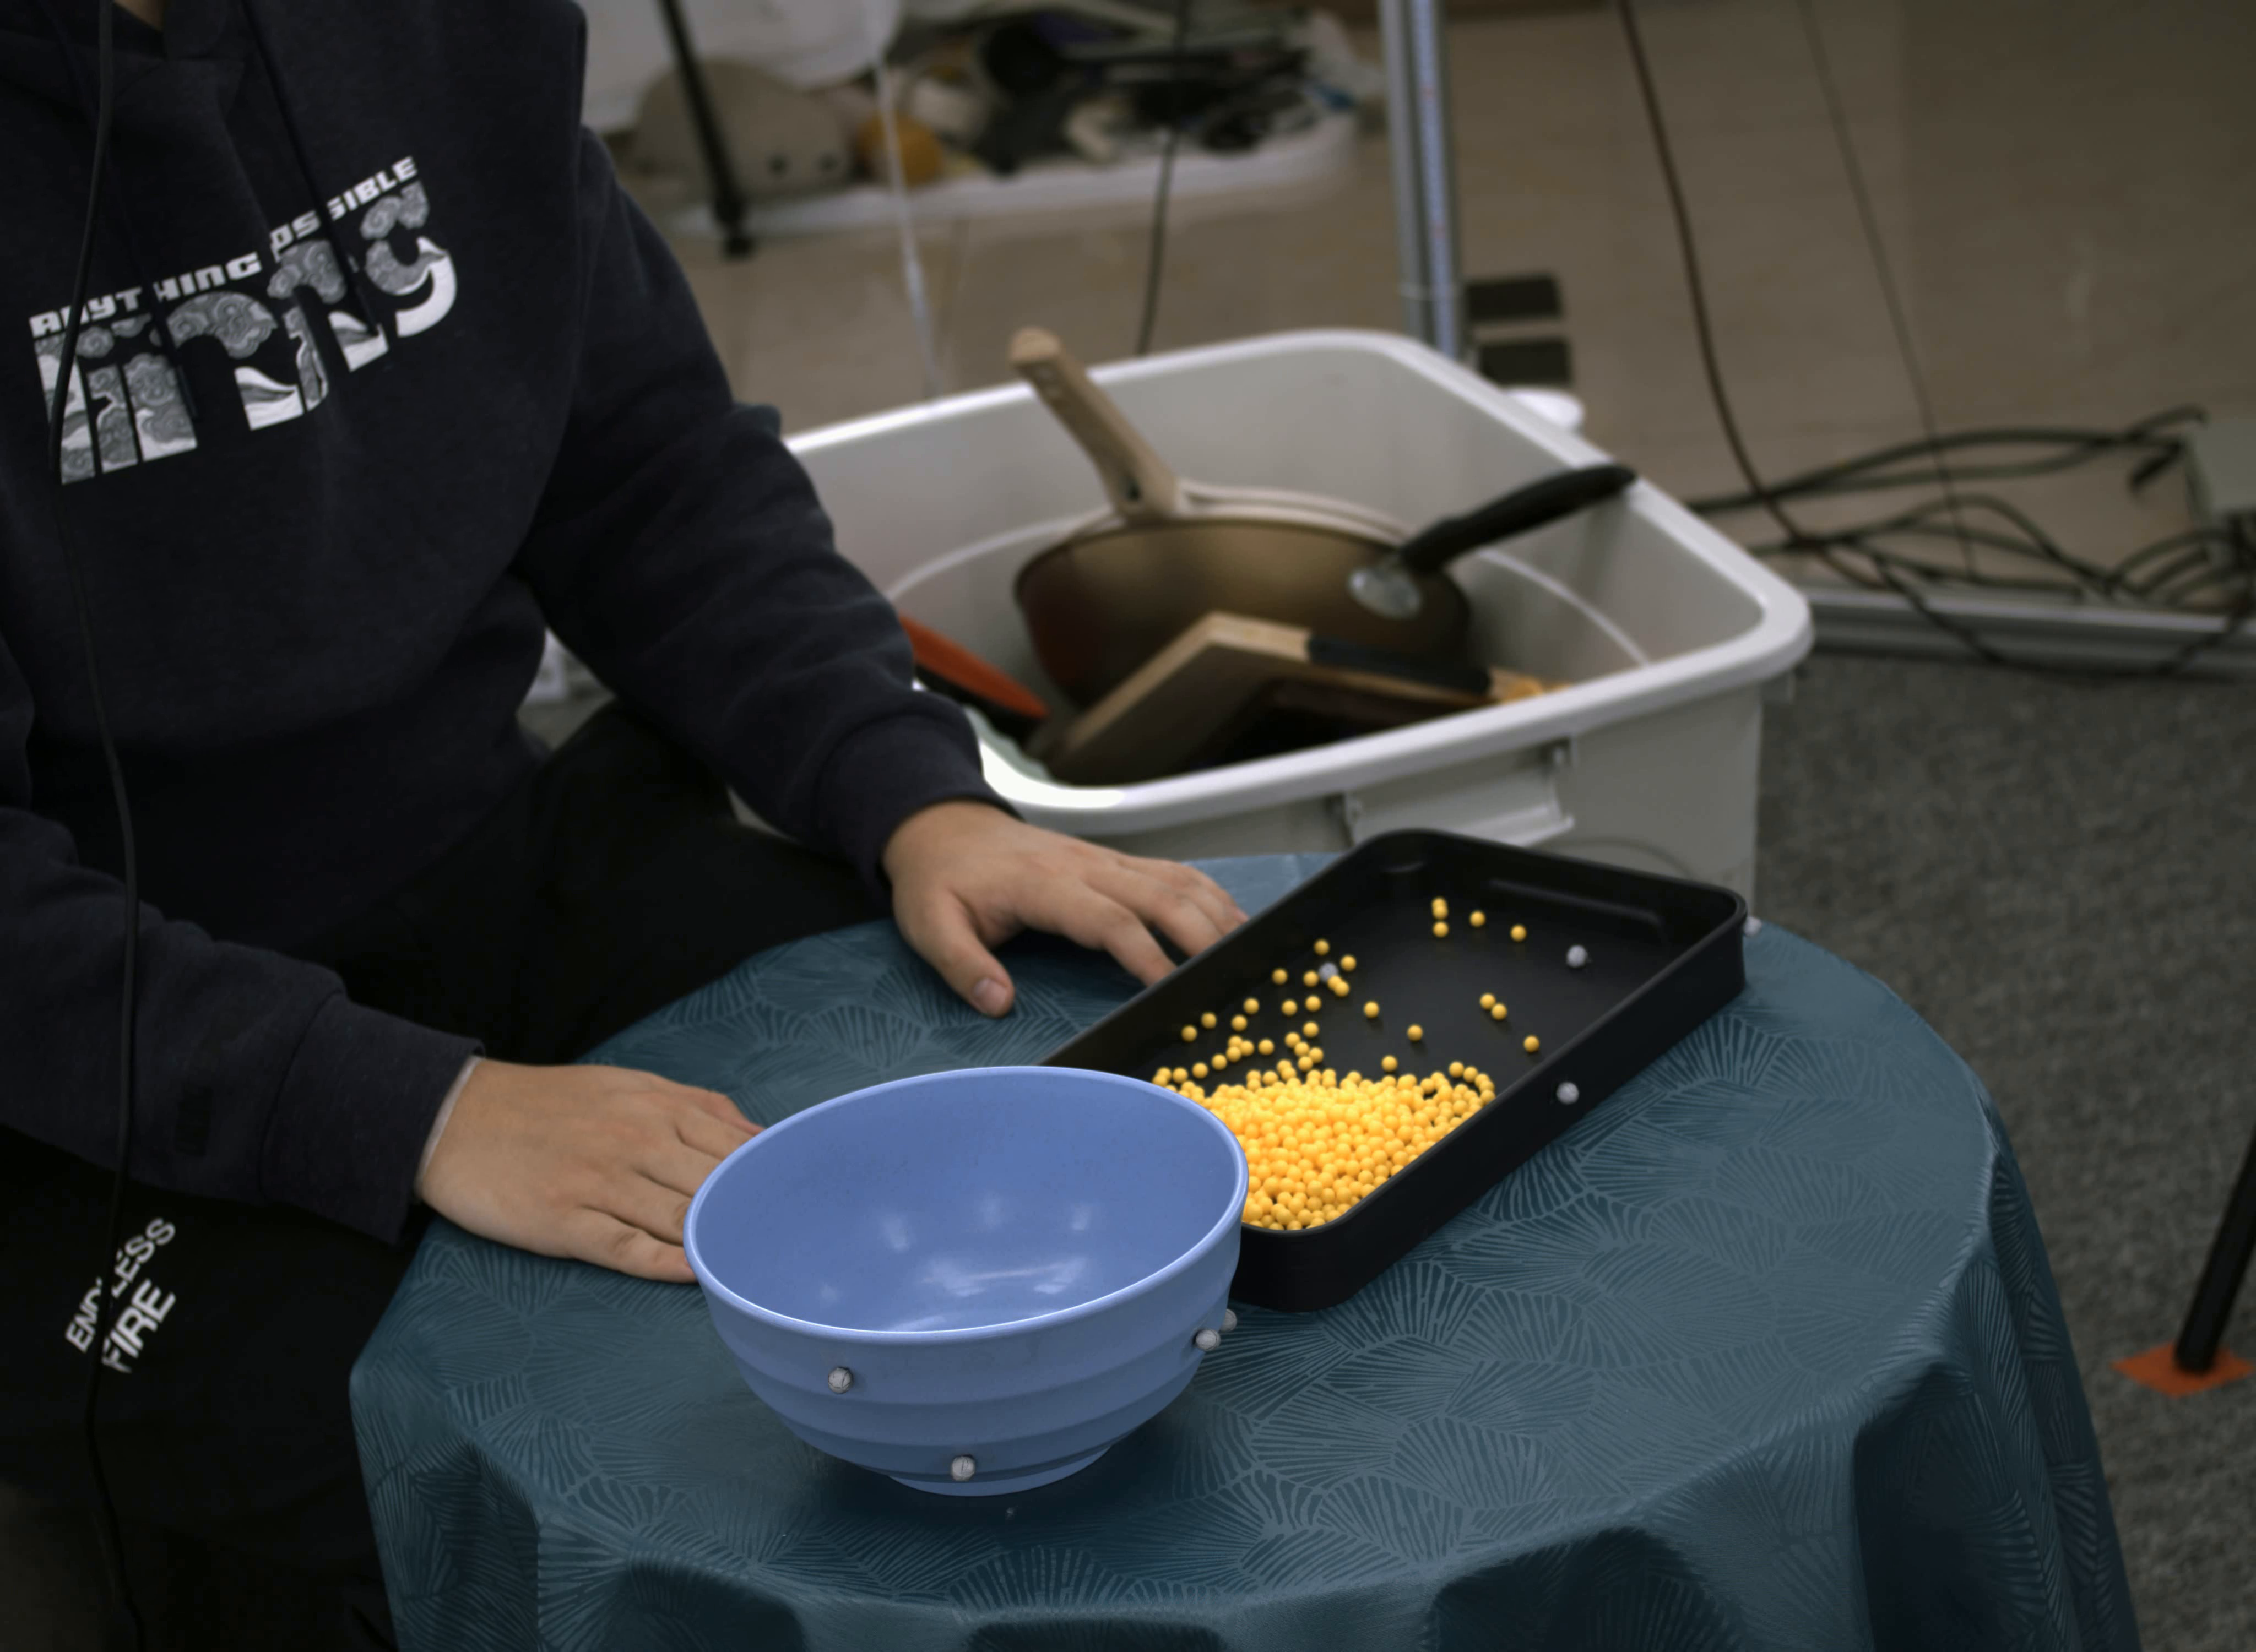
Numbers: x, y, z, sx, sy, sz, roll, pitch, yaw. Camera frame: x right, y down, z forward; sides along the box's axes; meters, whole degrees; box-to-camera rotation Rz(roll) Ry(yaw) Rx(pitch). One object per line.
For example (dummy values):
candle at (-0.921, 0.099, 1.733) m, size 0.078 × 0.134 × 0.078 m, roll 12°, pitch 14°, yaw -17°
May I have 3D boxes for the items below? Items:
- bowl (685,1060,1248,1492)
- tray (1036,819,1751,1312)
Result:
bowl at (-0.051, 0.168, 1.979) m, size 0.196 × 0.097 × 0.193 m, roll -5°, pitch 26°, yaw 3°
tray at (0.093, 0.087, 2.199) m, size 0.183 × 0.037 × 0.314 m, roll 11°, pitch 31°, yaw 35°
